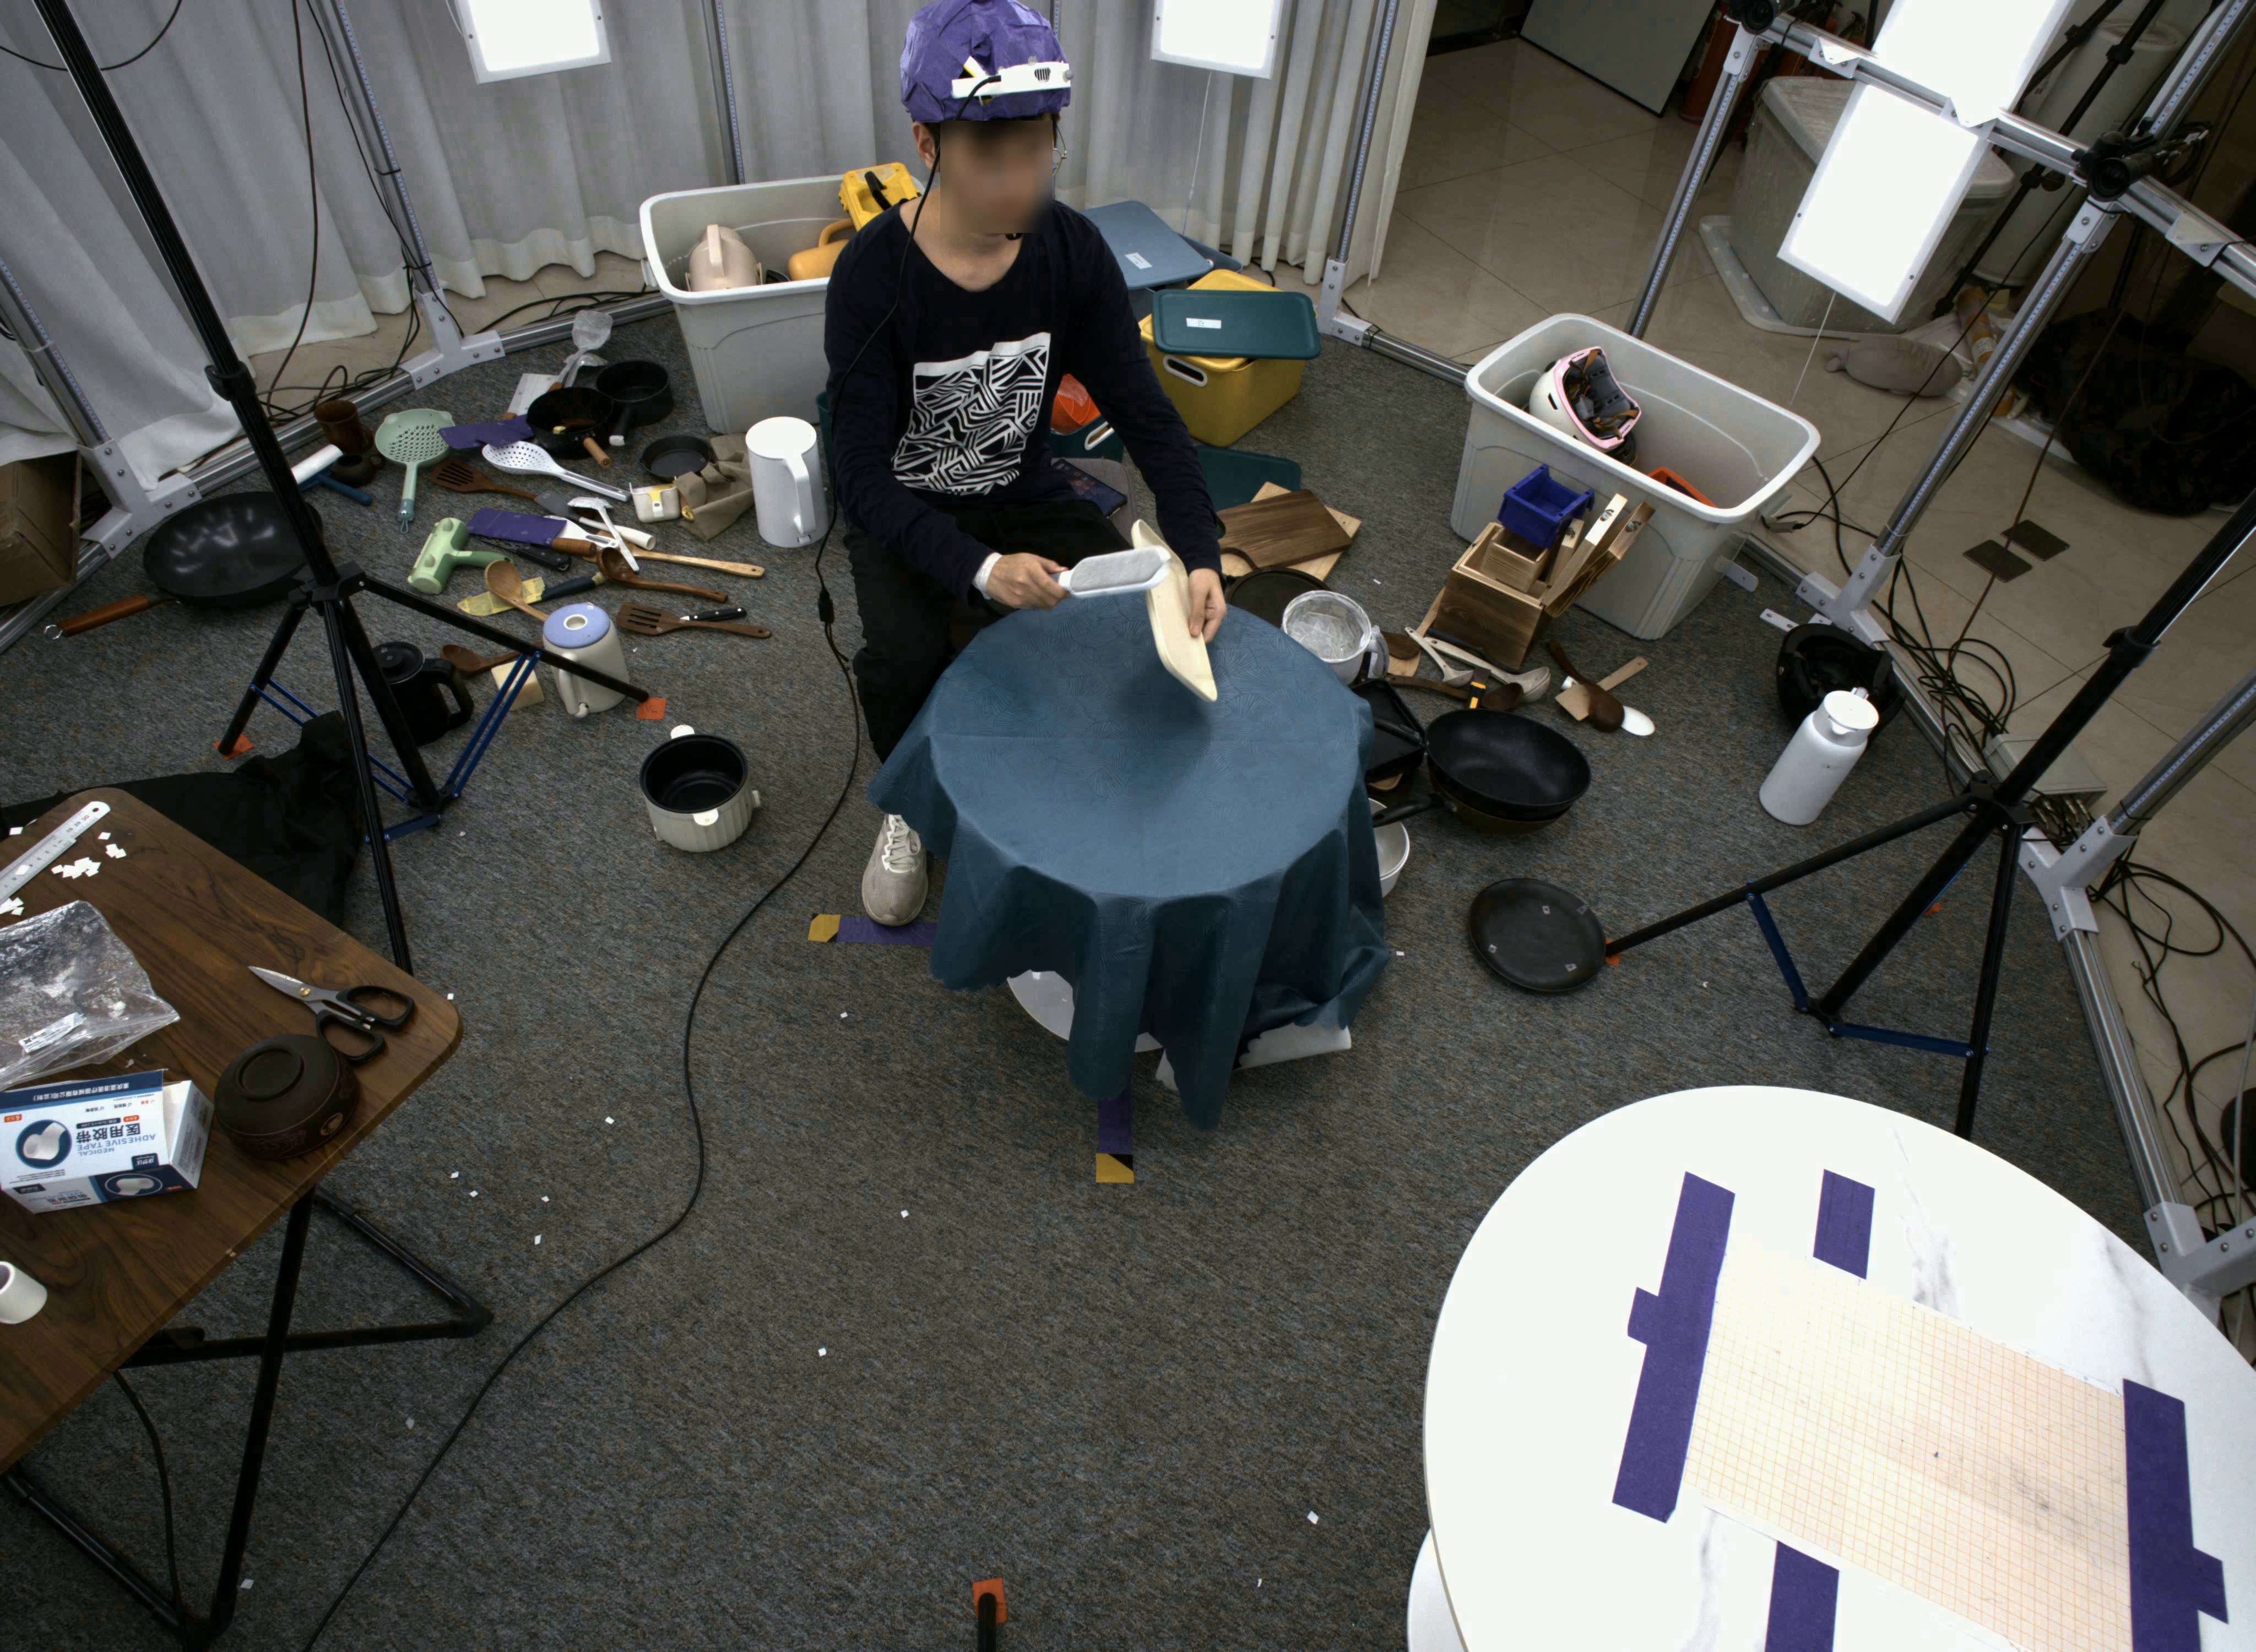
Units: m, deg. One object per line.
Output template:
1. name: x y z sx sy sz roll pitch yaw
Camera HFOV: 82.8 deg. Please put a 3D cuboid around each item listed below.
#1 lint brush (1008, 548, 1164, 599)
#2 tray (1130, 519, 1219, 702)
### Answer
1. lint brush: -0.062 -0.332 1.718 0.311 0.020 0.060 5 78 48
2. tray: 0.062 -0.292 1.760 0.017 0.169 0.244 -22 65 22
